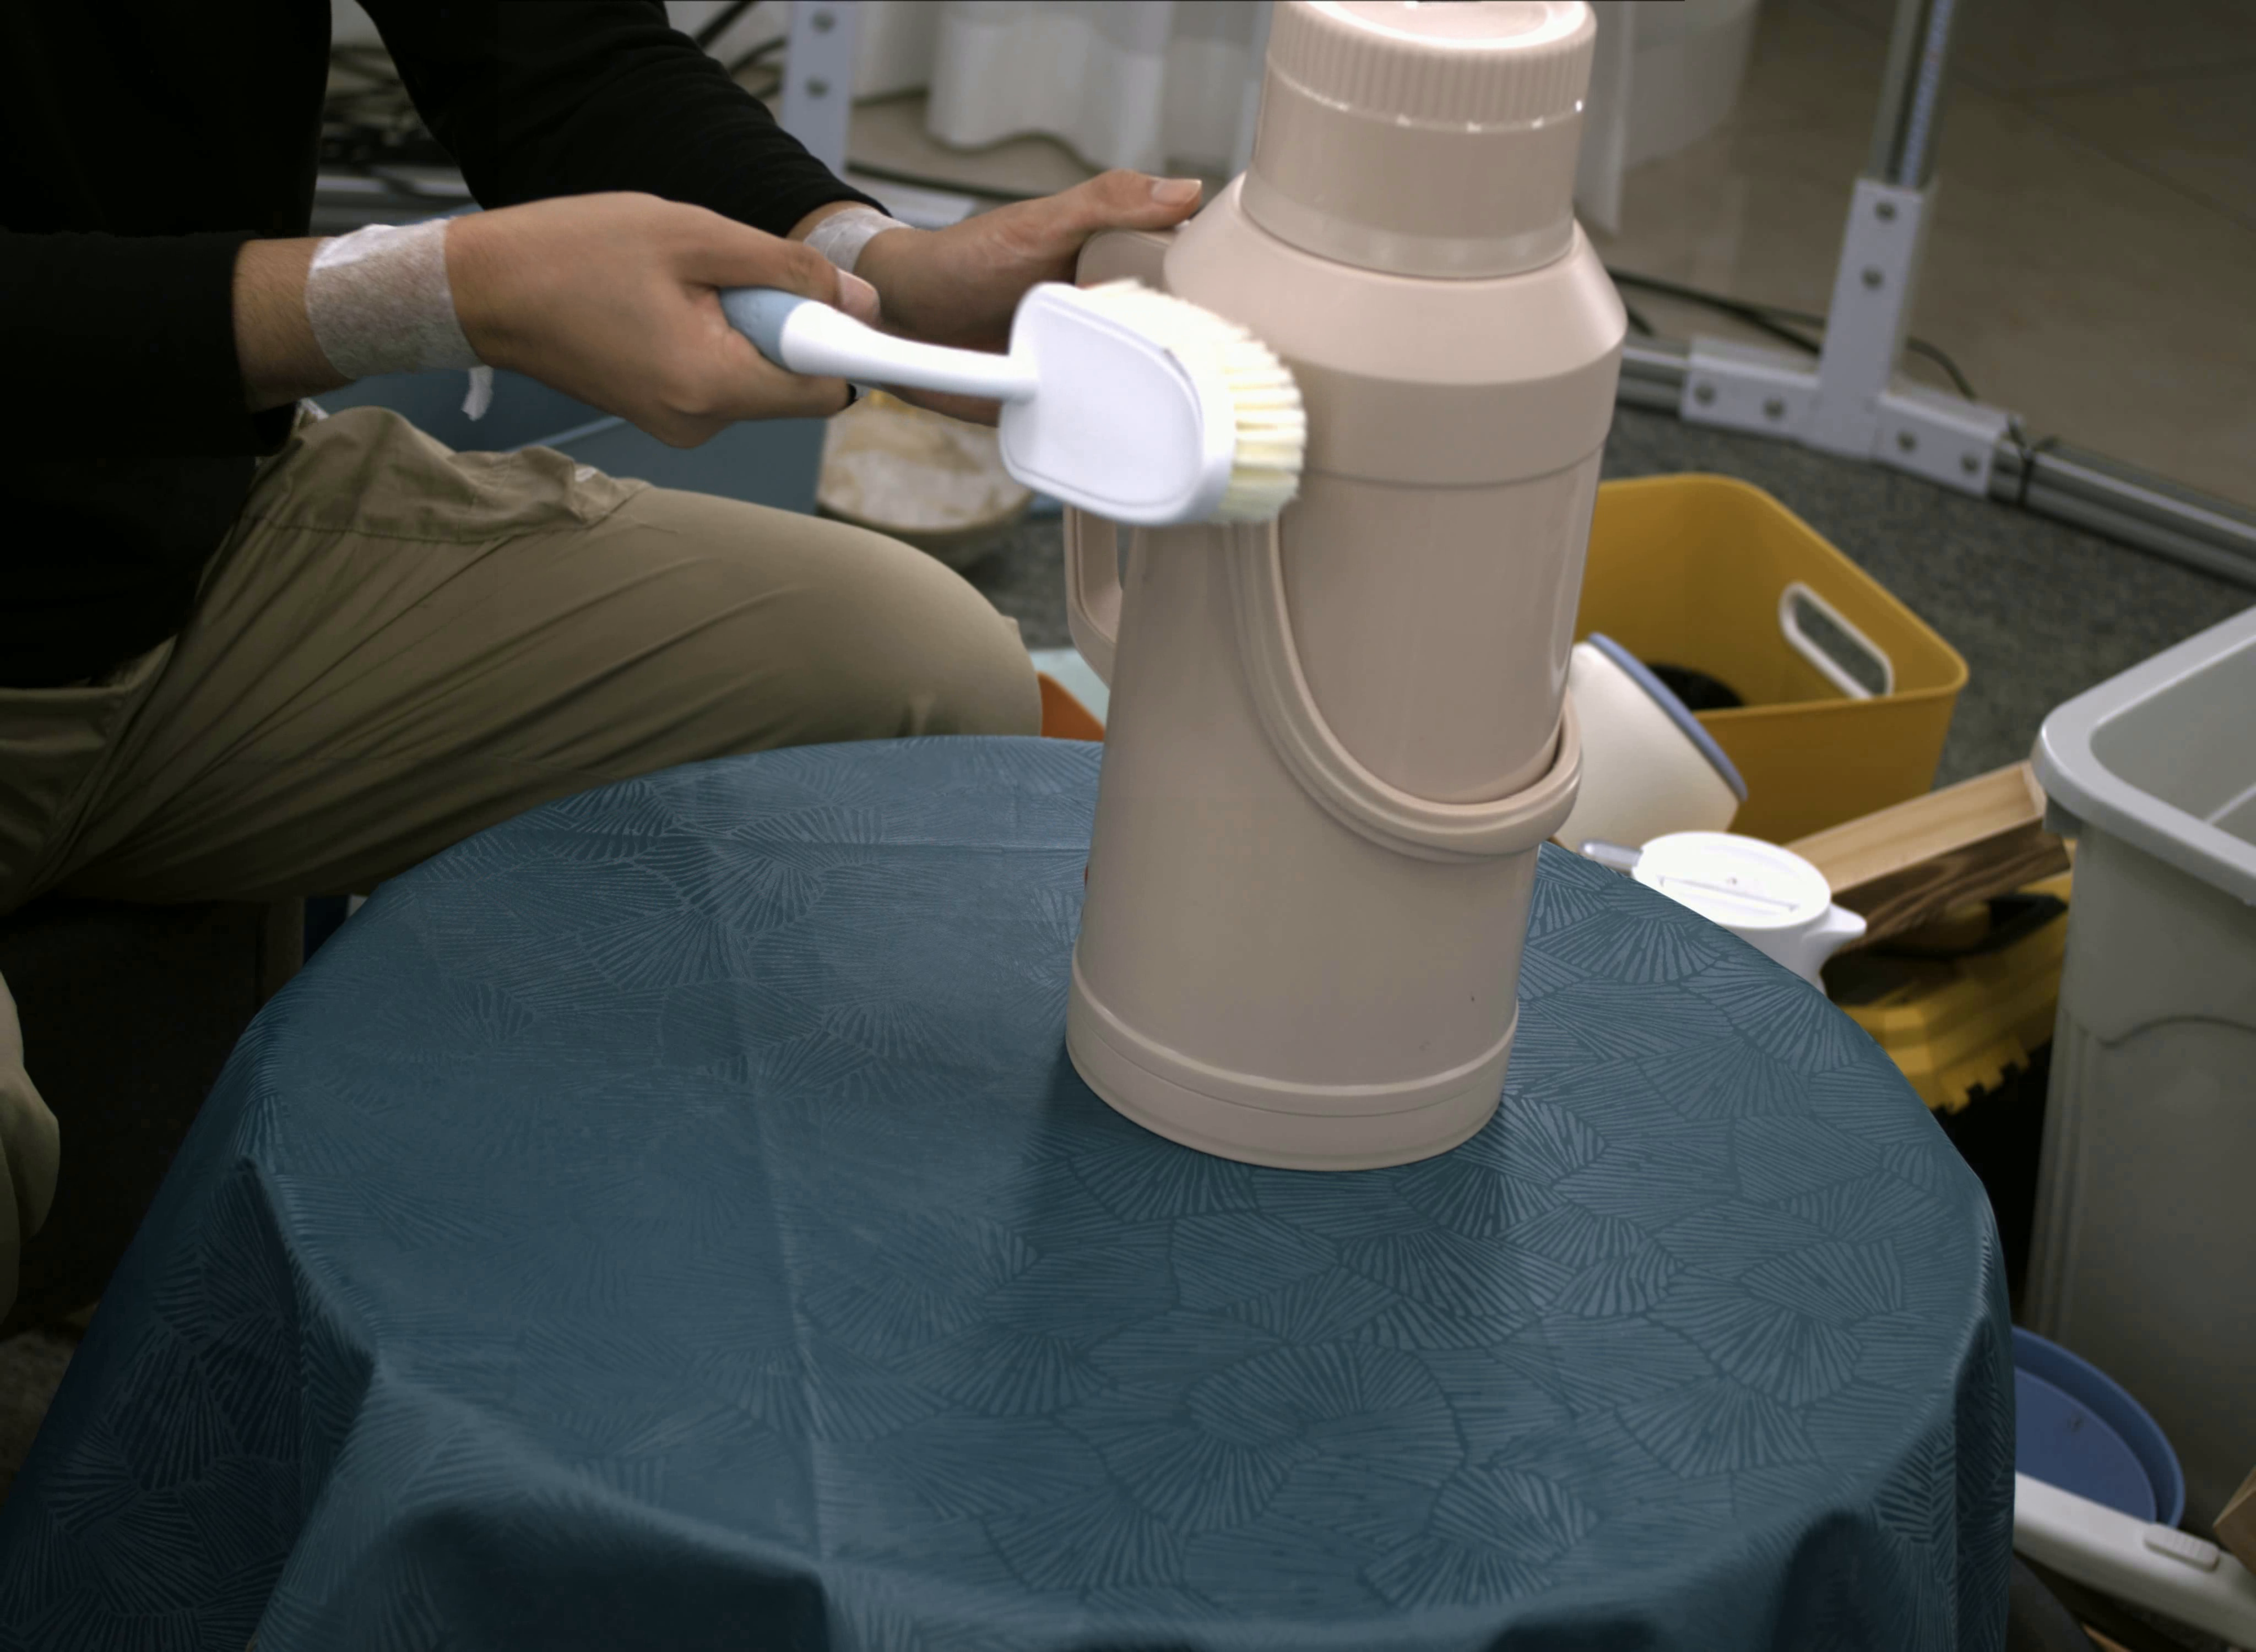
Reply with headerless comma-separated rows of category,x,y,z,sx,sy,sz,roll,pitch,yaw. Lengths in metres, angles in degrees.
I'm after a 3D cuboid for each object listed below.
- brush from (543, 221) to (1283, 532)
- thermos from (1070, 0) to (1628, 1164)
brush,-0.065,-0.162,1.775,0.328,0.084,0.083,22,70,41
thermos,0.067,-0.099,1.817,0.208,0.405,0.175,22,31,26
